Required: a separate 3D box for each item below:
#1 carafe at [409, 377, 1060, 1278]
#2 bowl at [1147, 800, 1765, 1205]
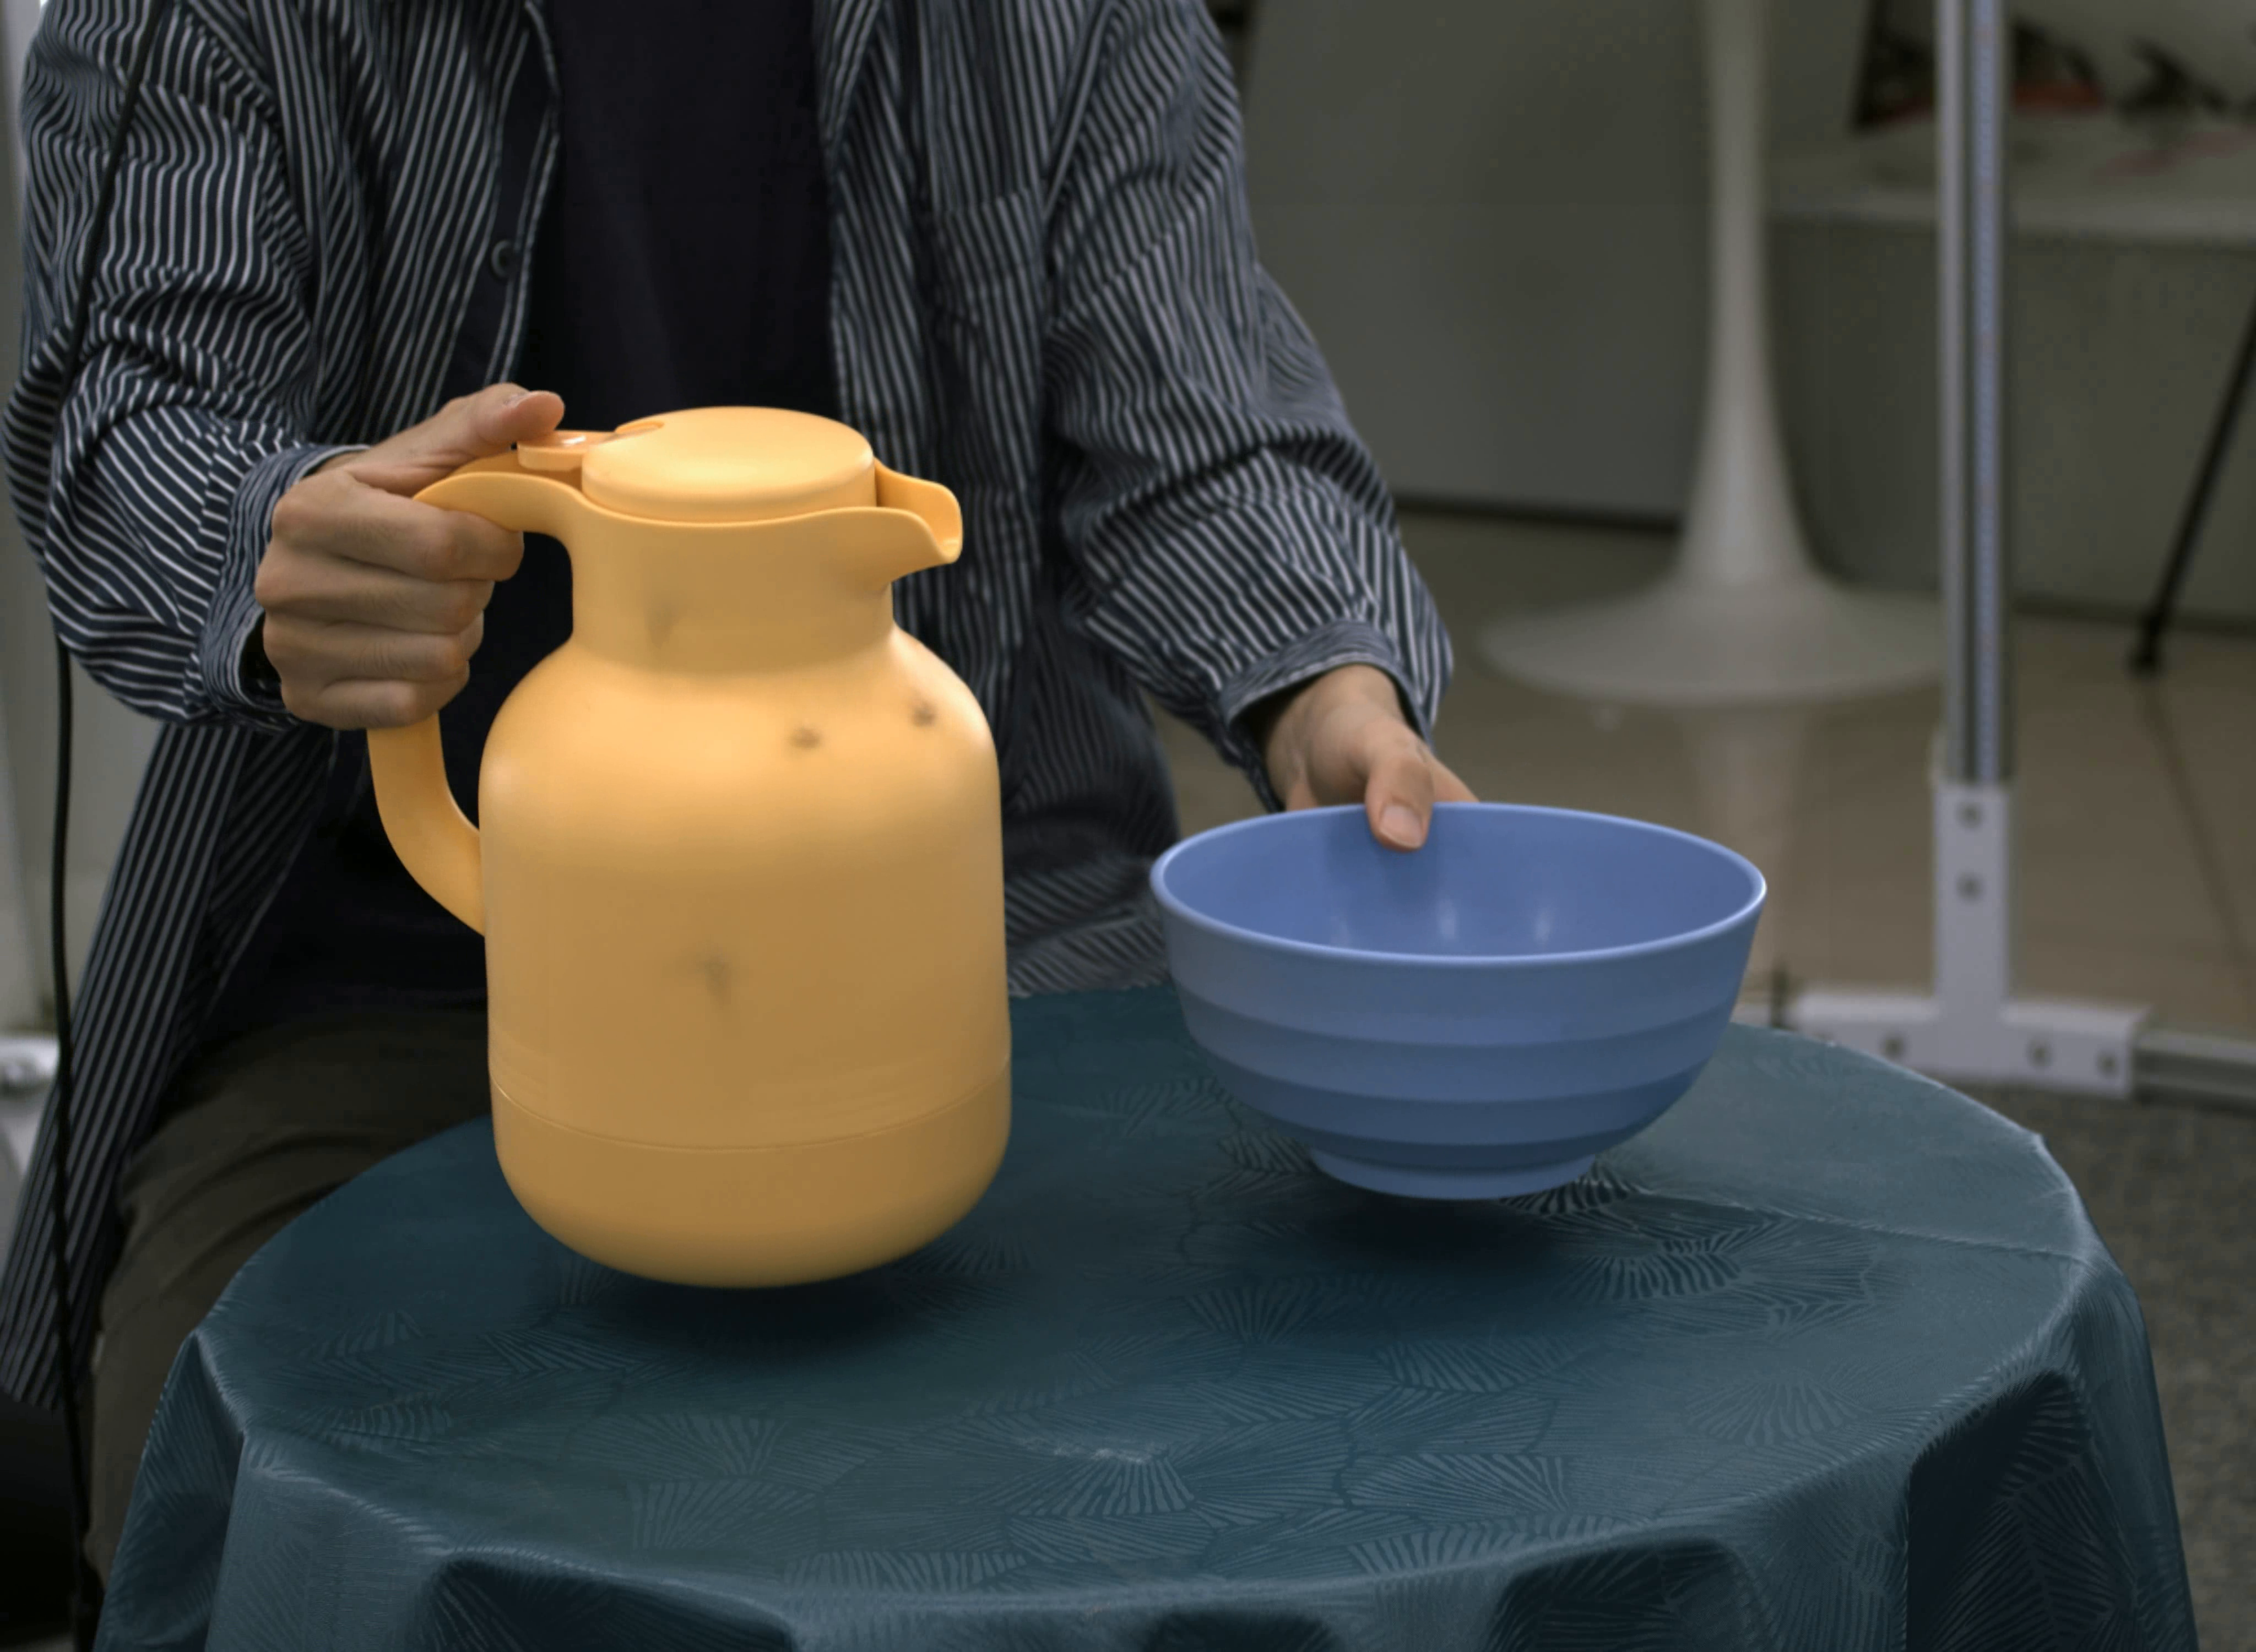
[{"bbox_3d":[-0.121,-0.006,1.666,0.202,0.263,0.162,6,21,19],"label":"carafe"},{"bbox_3d":[0.103,0.061,1.706,0.194,0.096,0.197,-1,14,-1],"label":"bowl"}]
